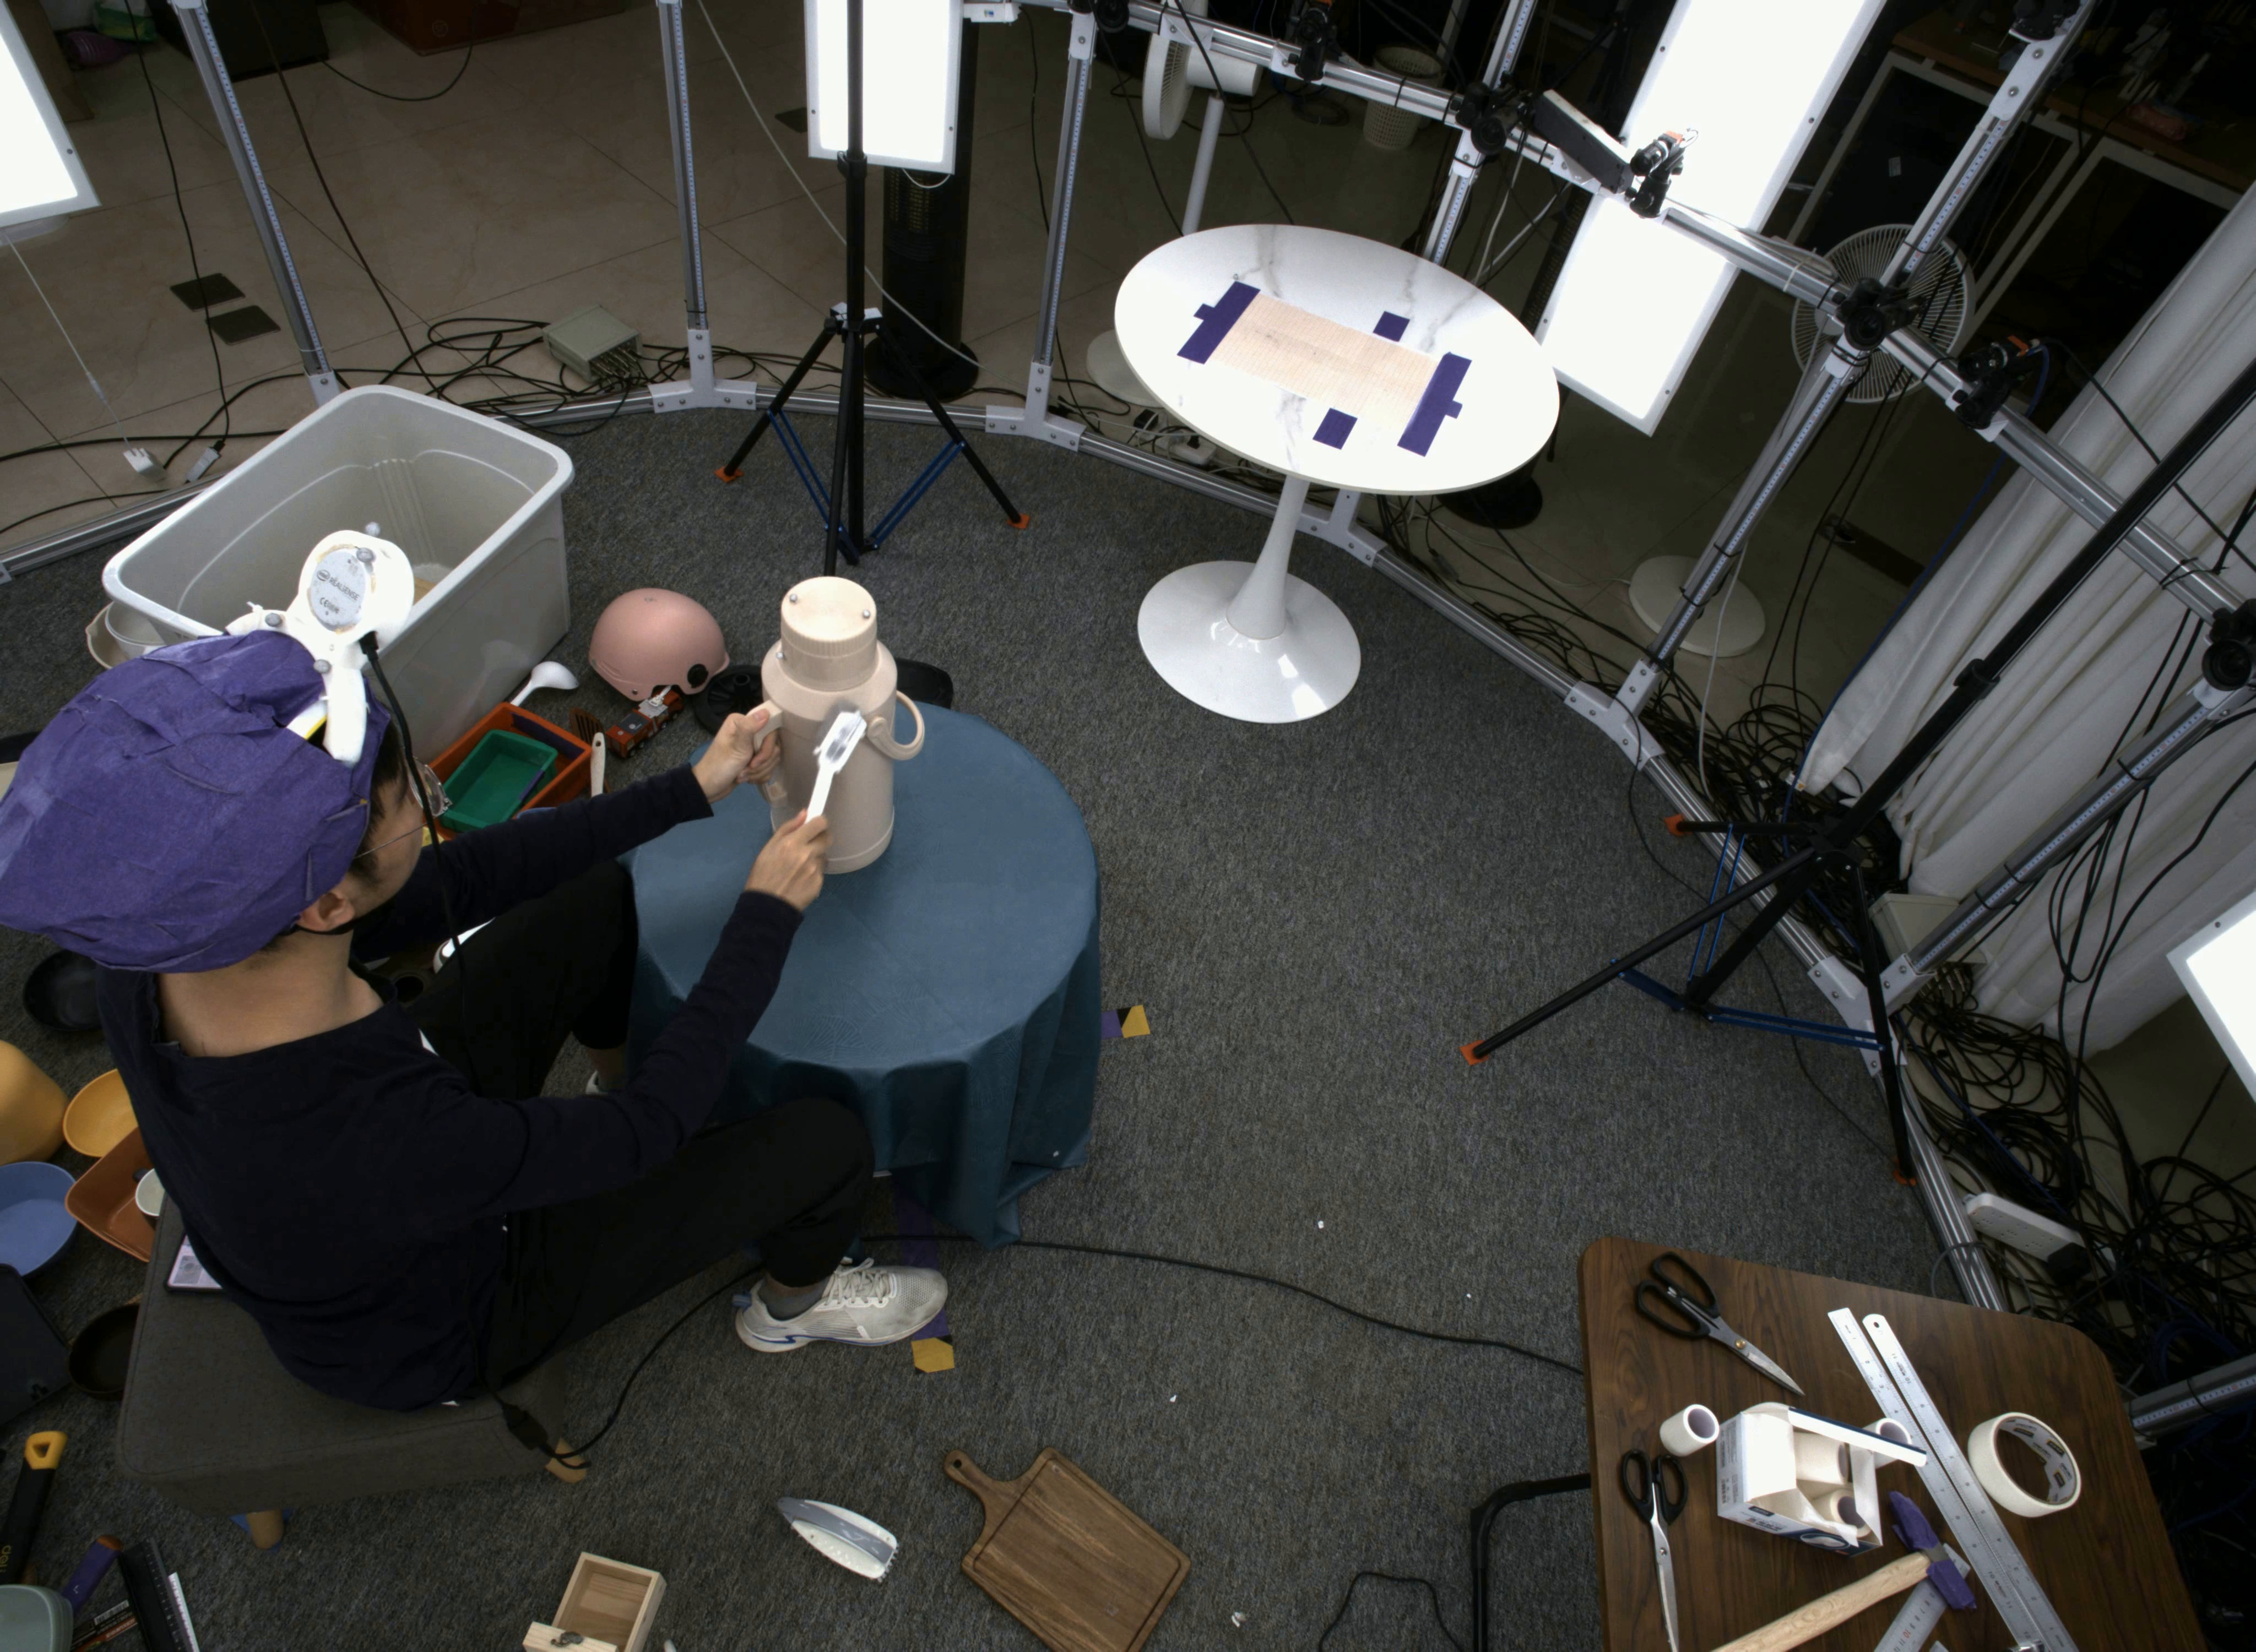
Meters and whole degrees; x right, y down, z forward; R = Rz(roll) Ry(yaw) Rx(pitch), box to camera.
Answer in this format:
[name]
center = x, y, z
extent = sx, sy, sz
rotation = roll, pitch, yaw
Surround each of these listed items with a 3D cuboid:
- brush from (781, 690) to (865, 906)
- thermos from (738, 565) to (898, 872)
[brush]
center = -0.353, -0.032, 1.457
extent = 0.035, 0.247, 0.048
rotation = 12, 11, -44
[thermos]
center = -0.376, -0.119, 1.570
extent = 0.171, 0.414, 0.207
rotation = 40, 56, 17
